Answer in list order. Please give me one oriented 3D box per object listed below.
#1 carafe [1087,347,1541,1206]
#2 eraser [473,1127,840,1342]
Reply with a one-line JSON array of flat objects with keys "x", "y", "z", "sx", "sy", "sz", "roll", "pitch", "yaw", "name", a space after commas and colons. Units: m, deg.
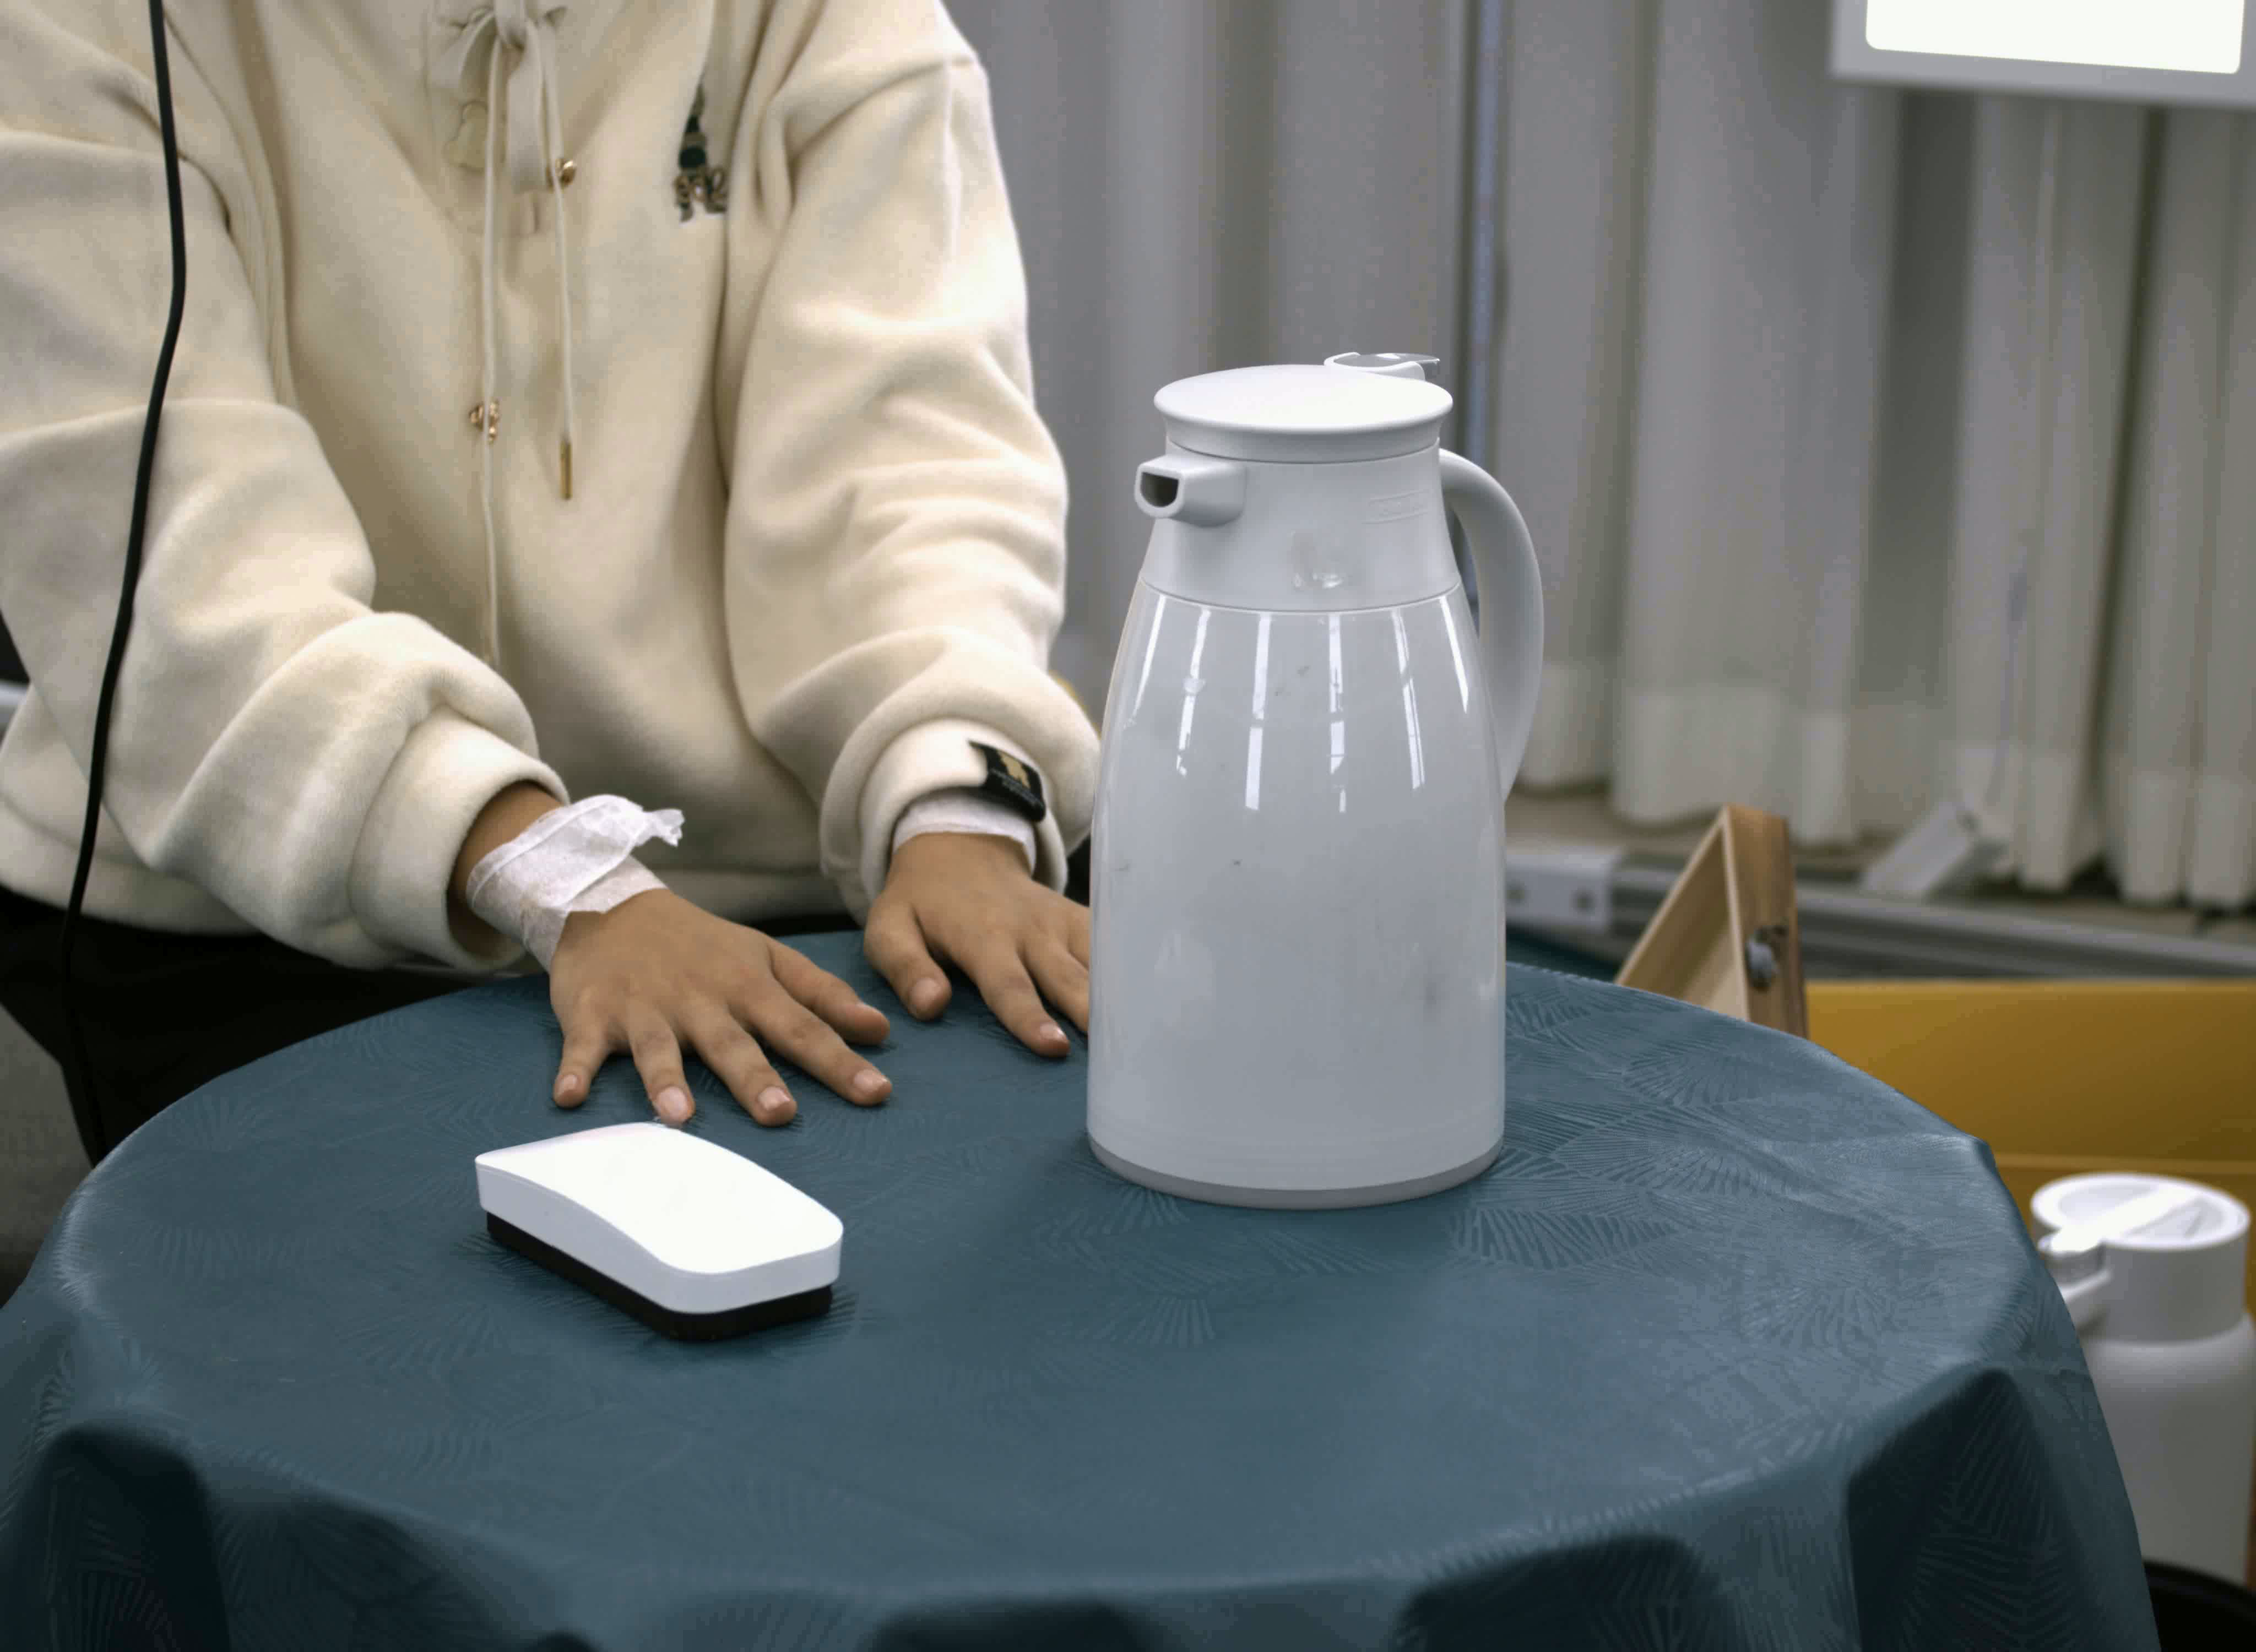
[{"x": 0.066, "y": -0.024, "z": 1.646, "sx": 0.131, "sy": 0.250, "sz": 0.168, "roll": 15, "pitch": 21, "yaw": 42, "name": "carafe"}, {"x": -0.139, "y": 0.115, "z": 1.547, "sx": 0.064, "sy": 0.035, "sz": 0.129, "roll": -9, "pitch": 18, "yaw": -35, "name": "eraser"}]
